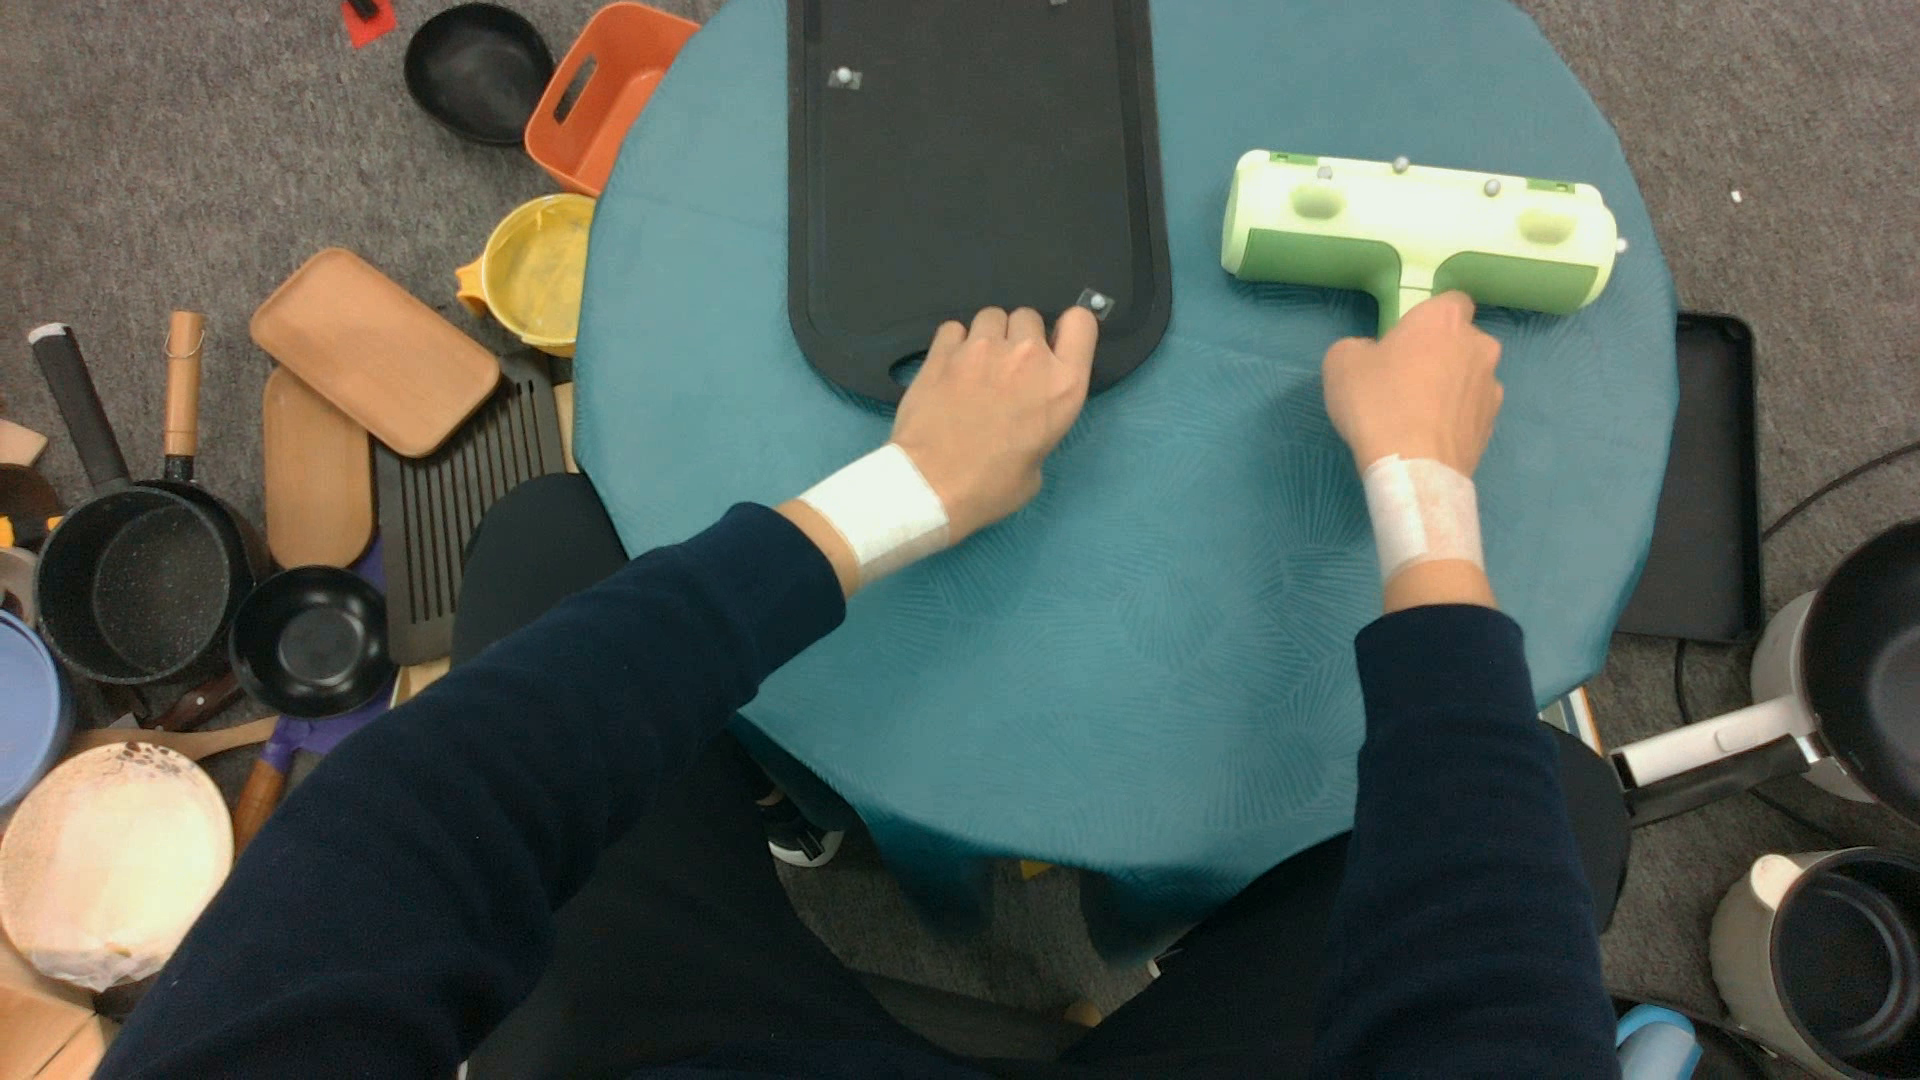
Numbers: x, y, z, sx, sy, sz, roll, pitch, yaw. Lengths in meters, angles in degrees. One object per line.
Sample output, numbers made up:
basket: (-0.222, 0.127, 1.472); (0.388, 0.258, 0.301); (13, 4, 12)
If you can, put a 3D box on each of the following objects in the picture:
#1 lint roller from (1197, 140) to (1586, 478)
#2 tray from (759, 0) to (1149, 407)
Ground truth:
lint roller: (0.223, -0.127, 0.704); (0.198, 0.082, 0.184); (5, 62, 2)
tray: (-0.007, -0.227, 0.772); (0.211, 0.010, 0.326); (-3, 73, 0)
